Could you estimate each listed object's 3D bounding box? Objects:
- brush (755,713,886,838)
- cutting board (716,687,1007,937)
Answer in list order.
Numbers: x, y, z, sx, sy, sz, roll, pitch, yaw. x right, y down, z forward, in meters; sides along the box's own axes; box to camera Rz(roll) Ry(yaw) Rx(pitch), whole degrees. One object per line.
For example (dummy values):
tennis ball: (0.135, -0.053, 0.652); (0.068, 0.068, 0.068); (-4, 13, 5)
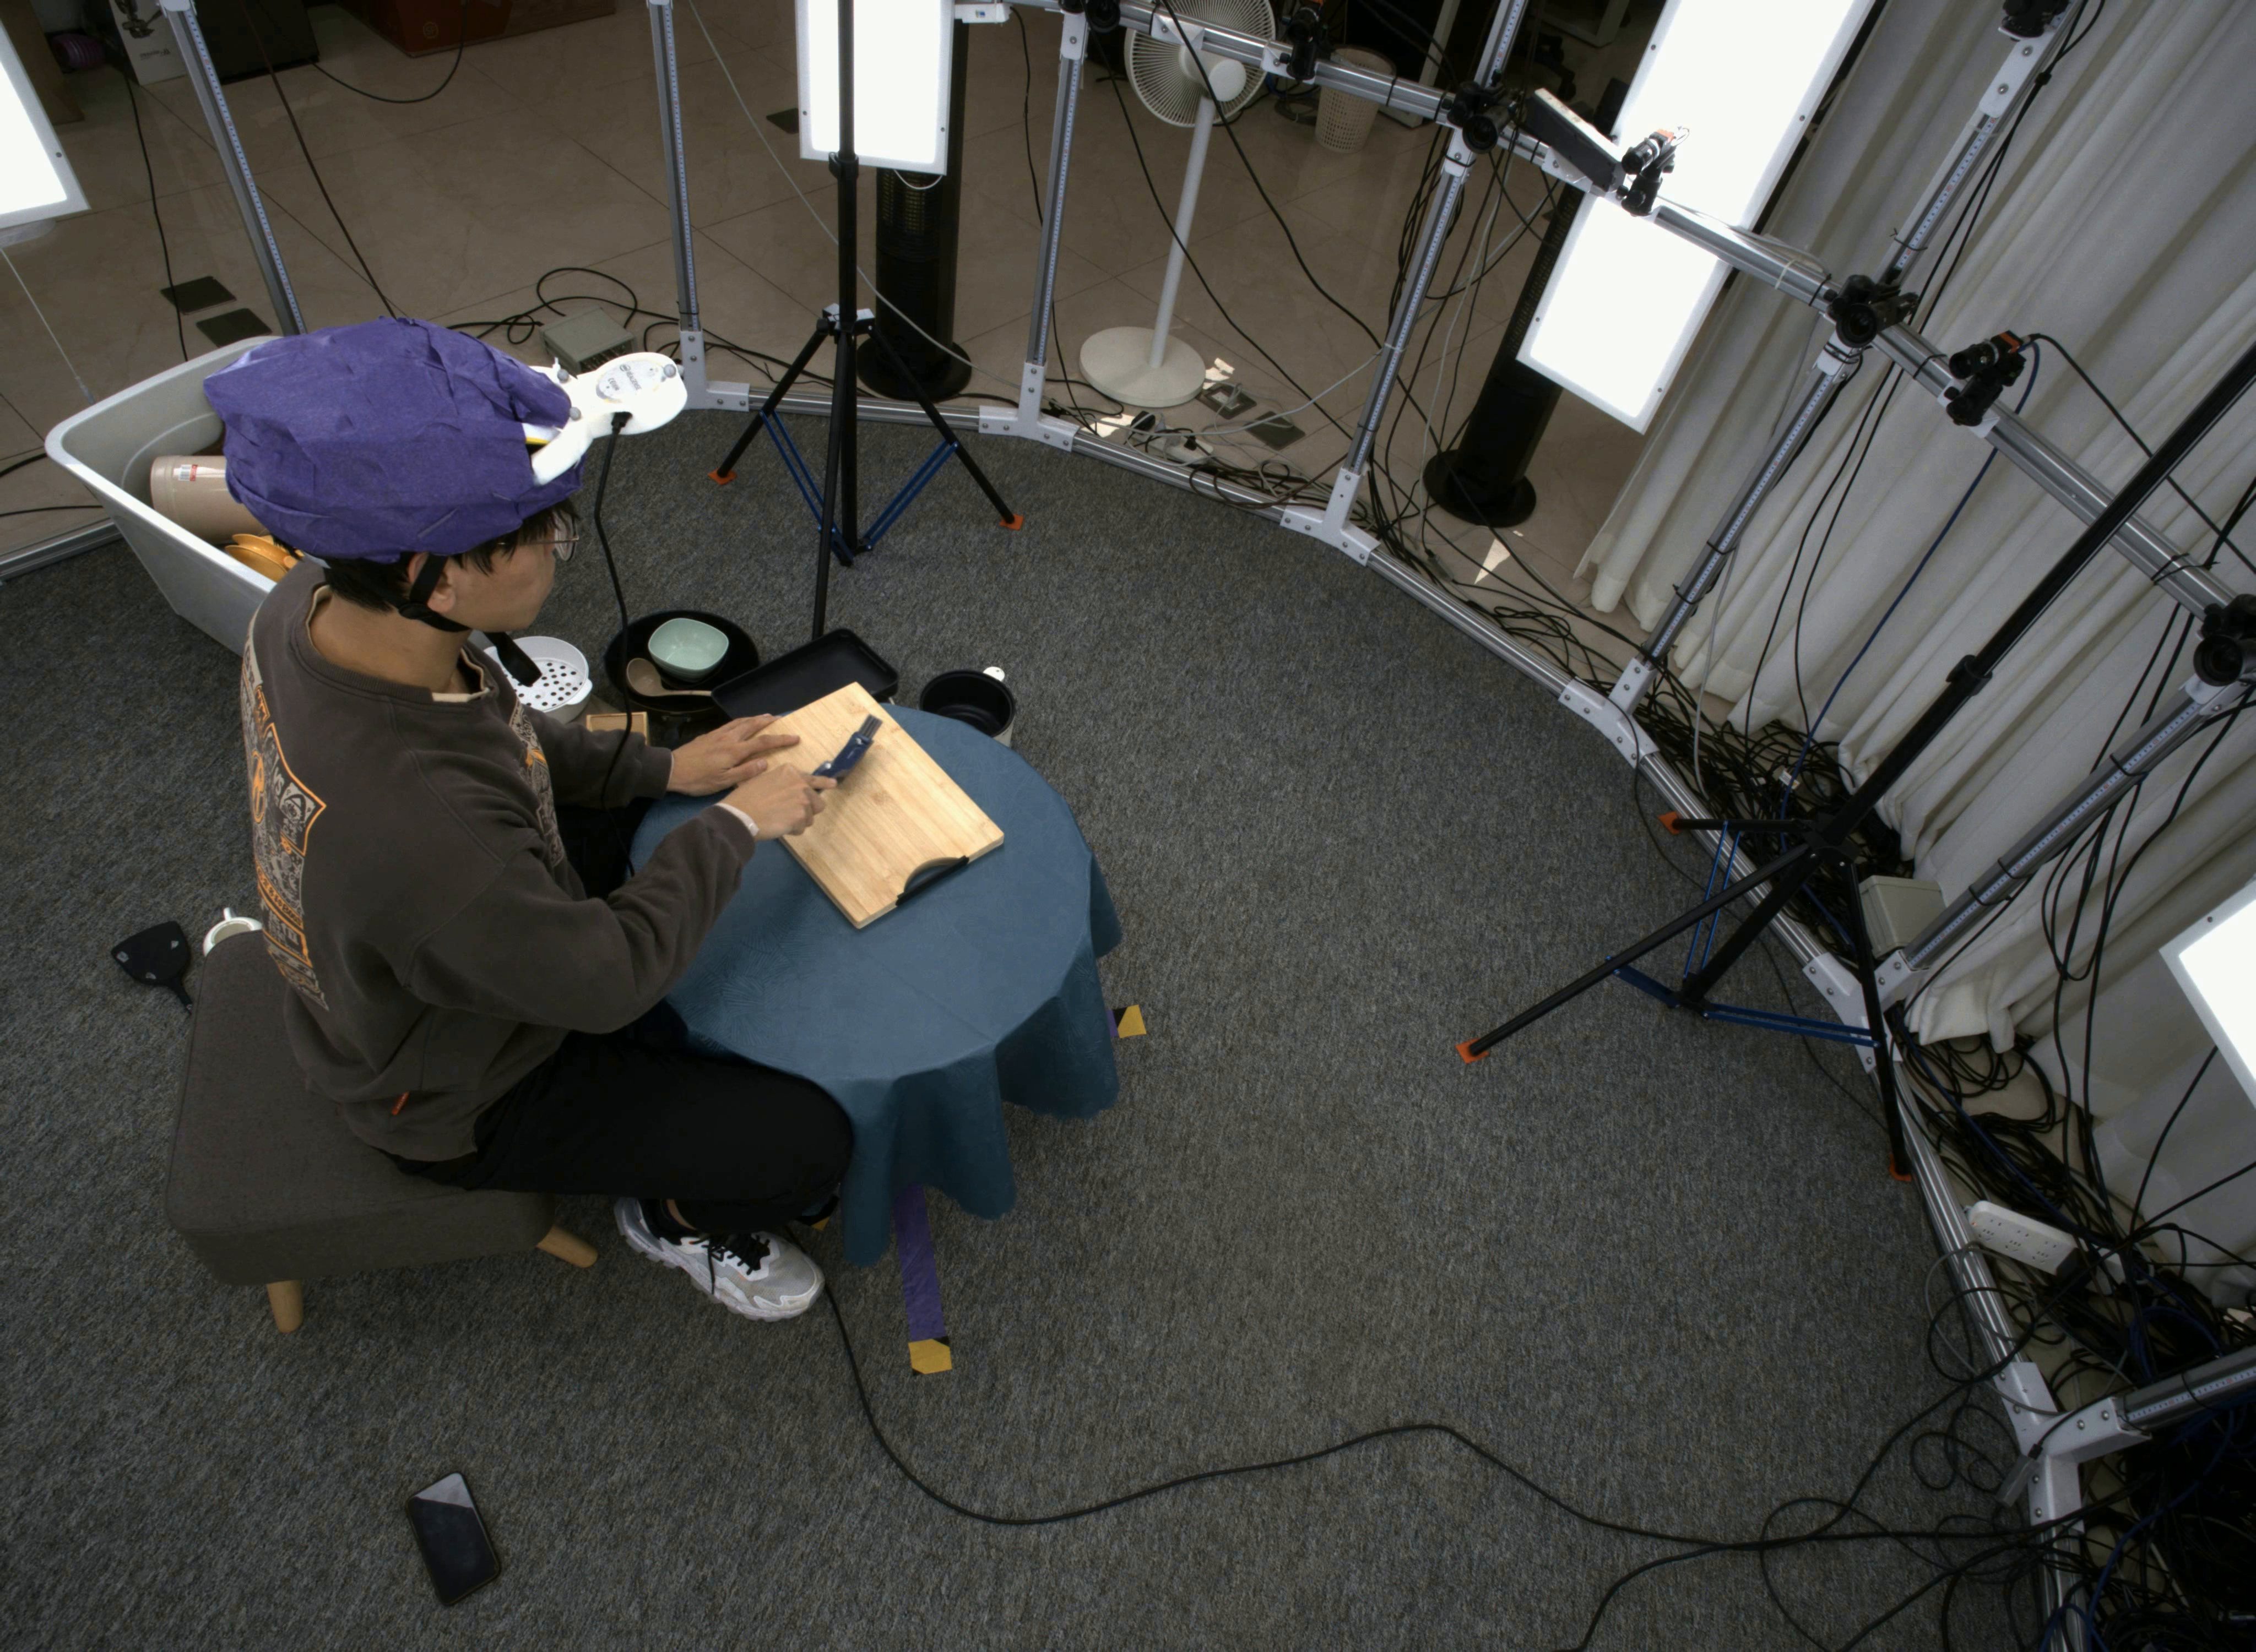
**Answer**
brush: (-0.392, -0.068, 1.669); (0.033, 0.096, 0.271); (32, 25, 0)
cutting board: (-0.363, -0.033, 1.767); (0.251, 0.024, 0.341); (-35, 68, -31)
